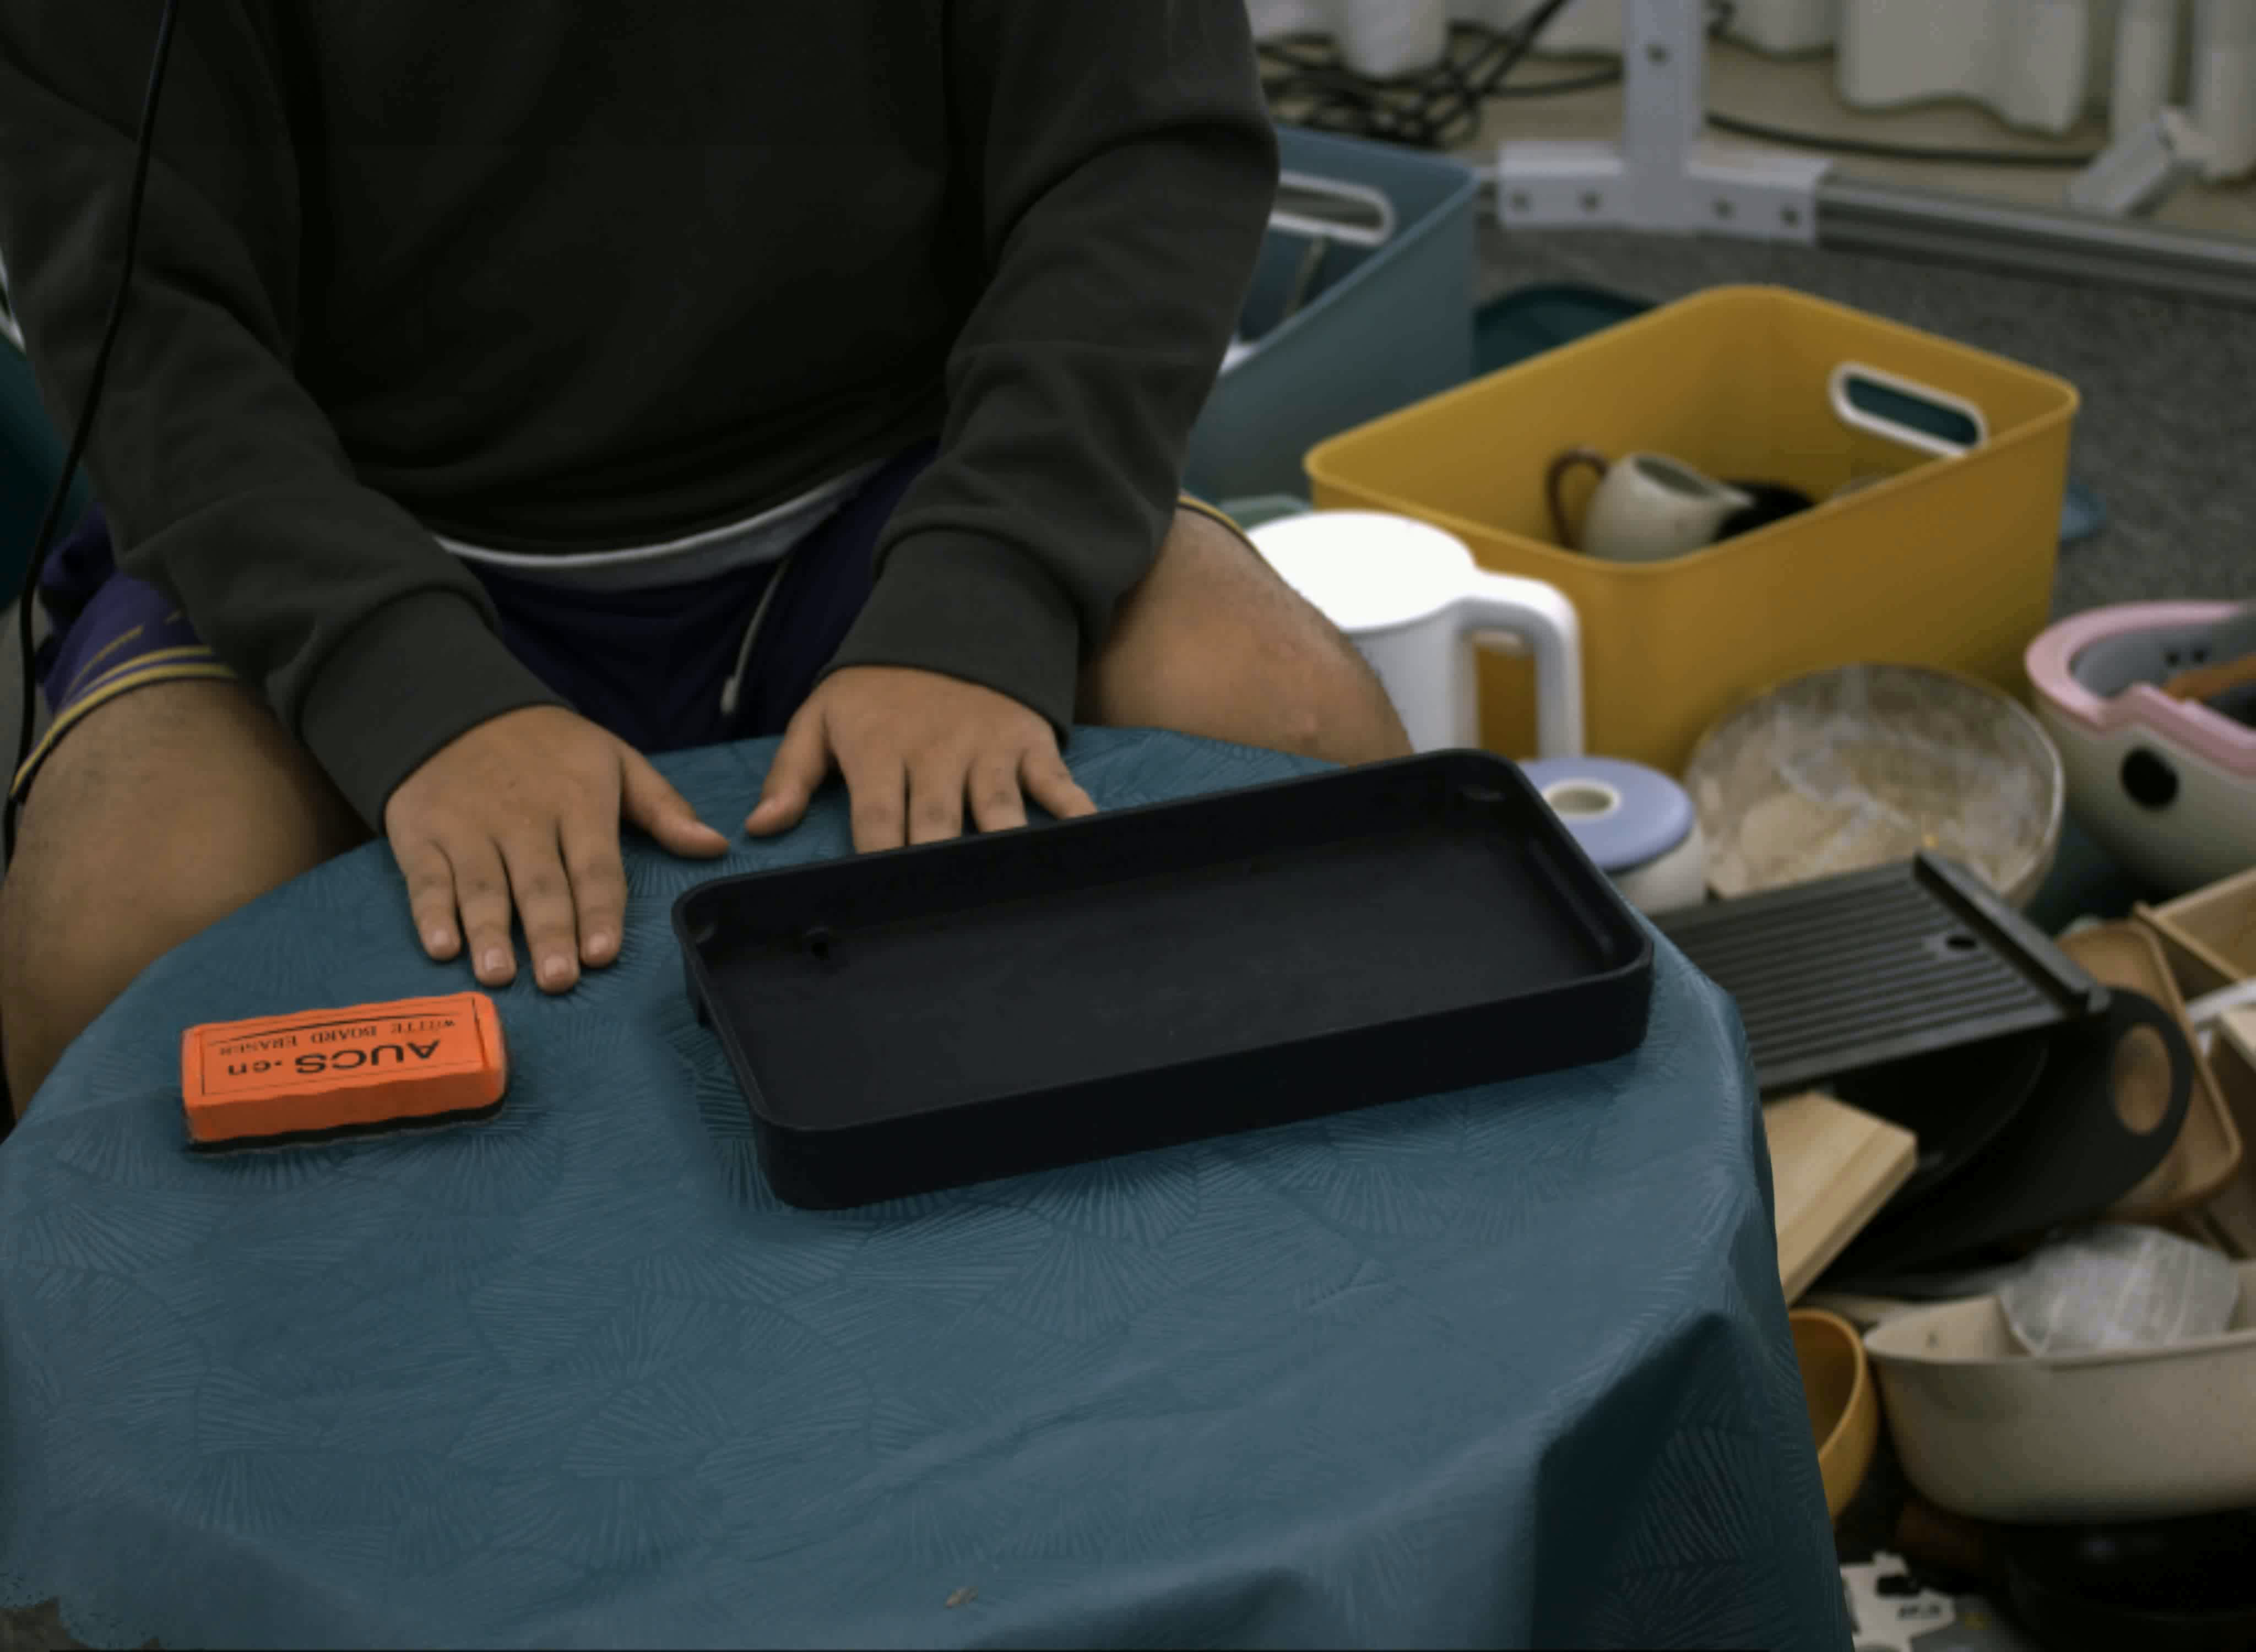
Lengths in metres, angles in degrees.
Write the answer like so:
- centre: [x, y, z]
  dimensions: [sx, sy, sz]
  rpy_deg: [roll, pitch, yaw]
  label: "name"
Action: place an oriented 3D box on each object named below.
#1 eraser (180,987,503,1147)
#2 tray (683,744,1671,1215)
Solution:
- centre: [-0.270, 0.083, 1.930]
  dimensions: [0.108, 0.022, 0.059]
  rpy_deg: [-8, 22, -7]
  label: "eraser"
- centre: [0.015, 0.050, 1.963]
  dimensions: [0.318, 0.036, 0.186]
  rpy_deg: [-11, 28, -14]
  label: "tray"
